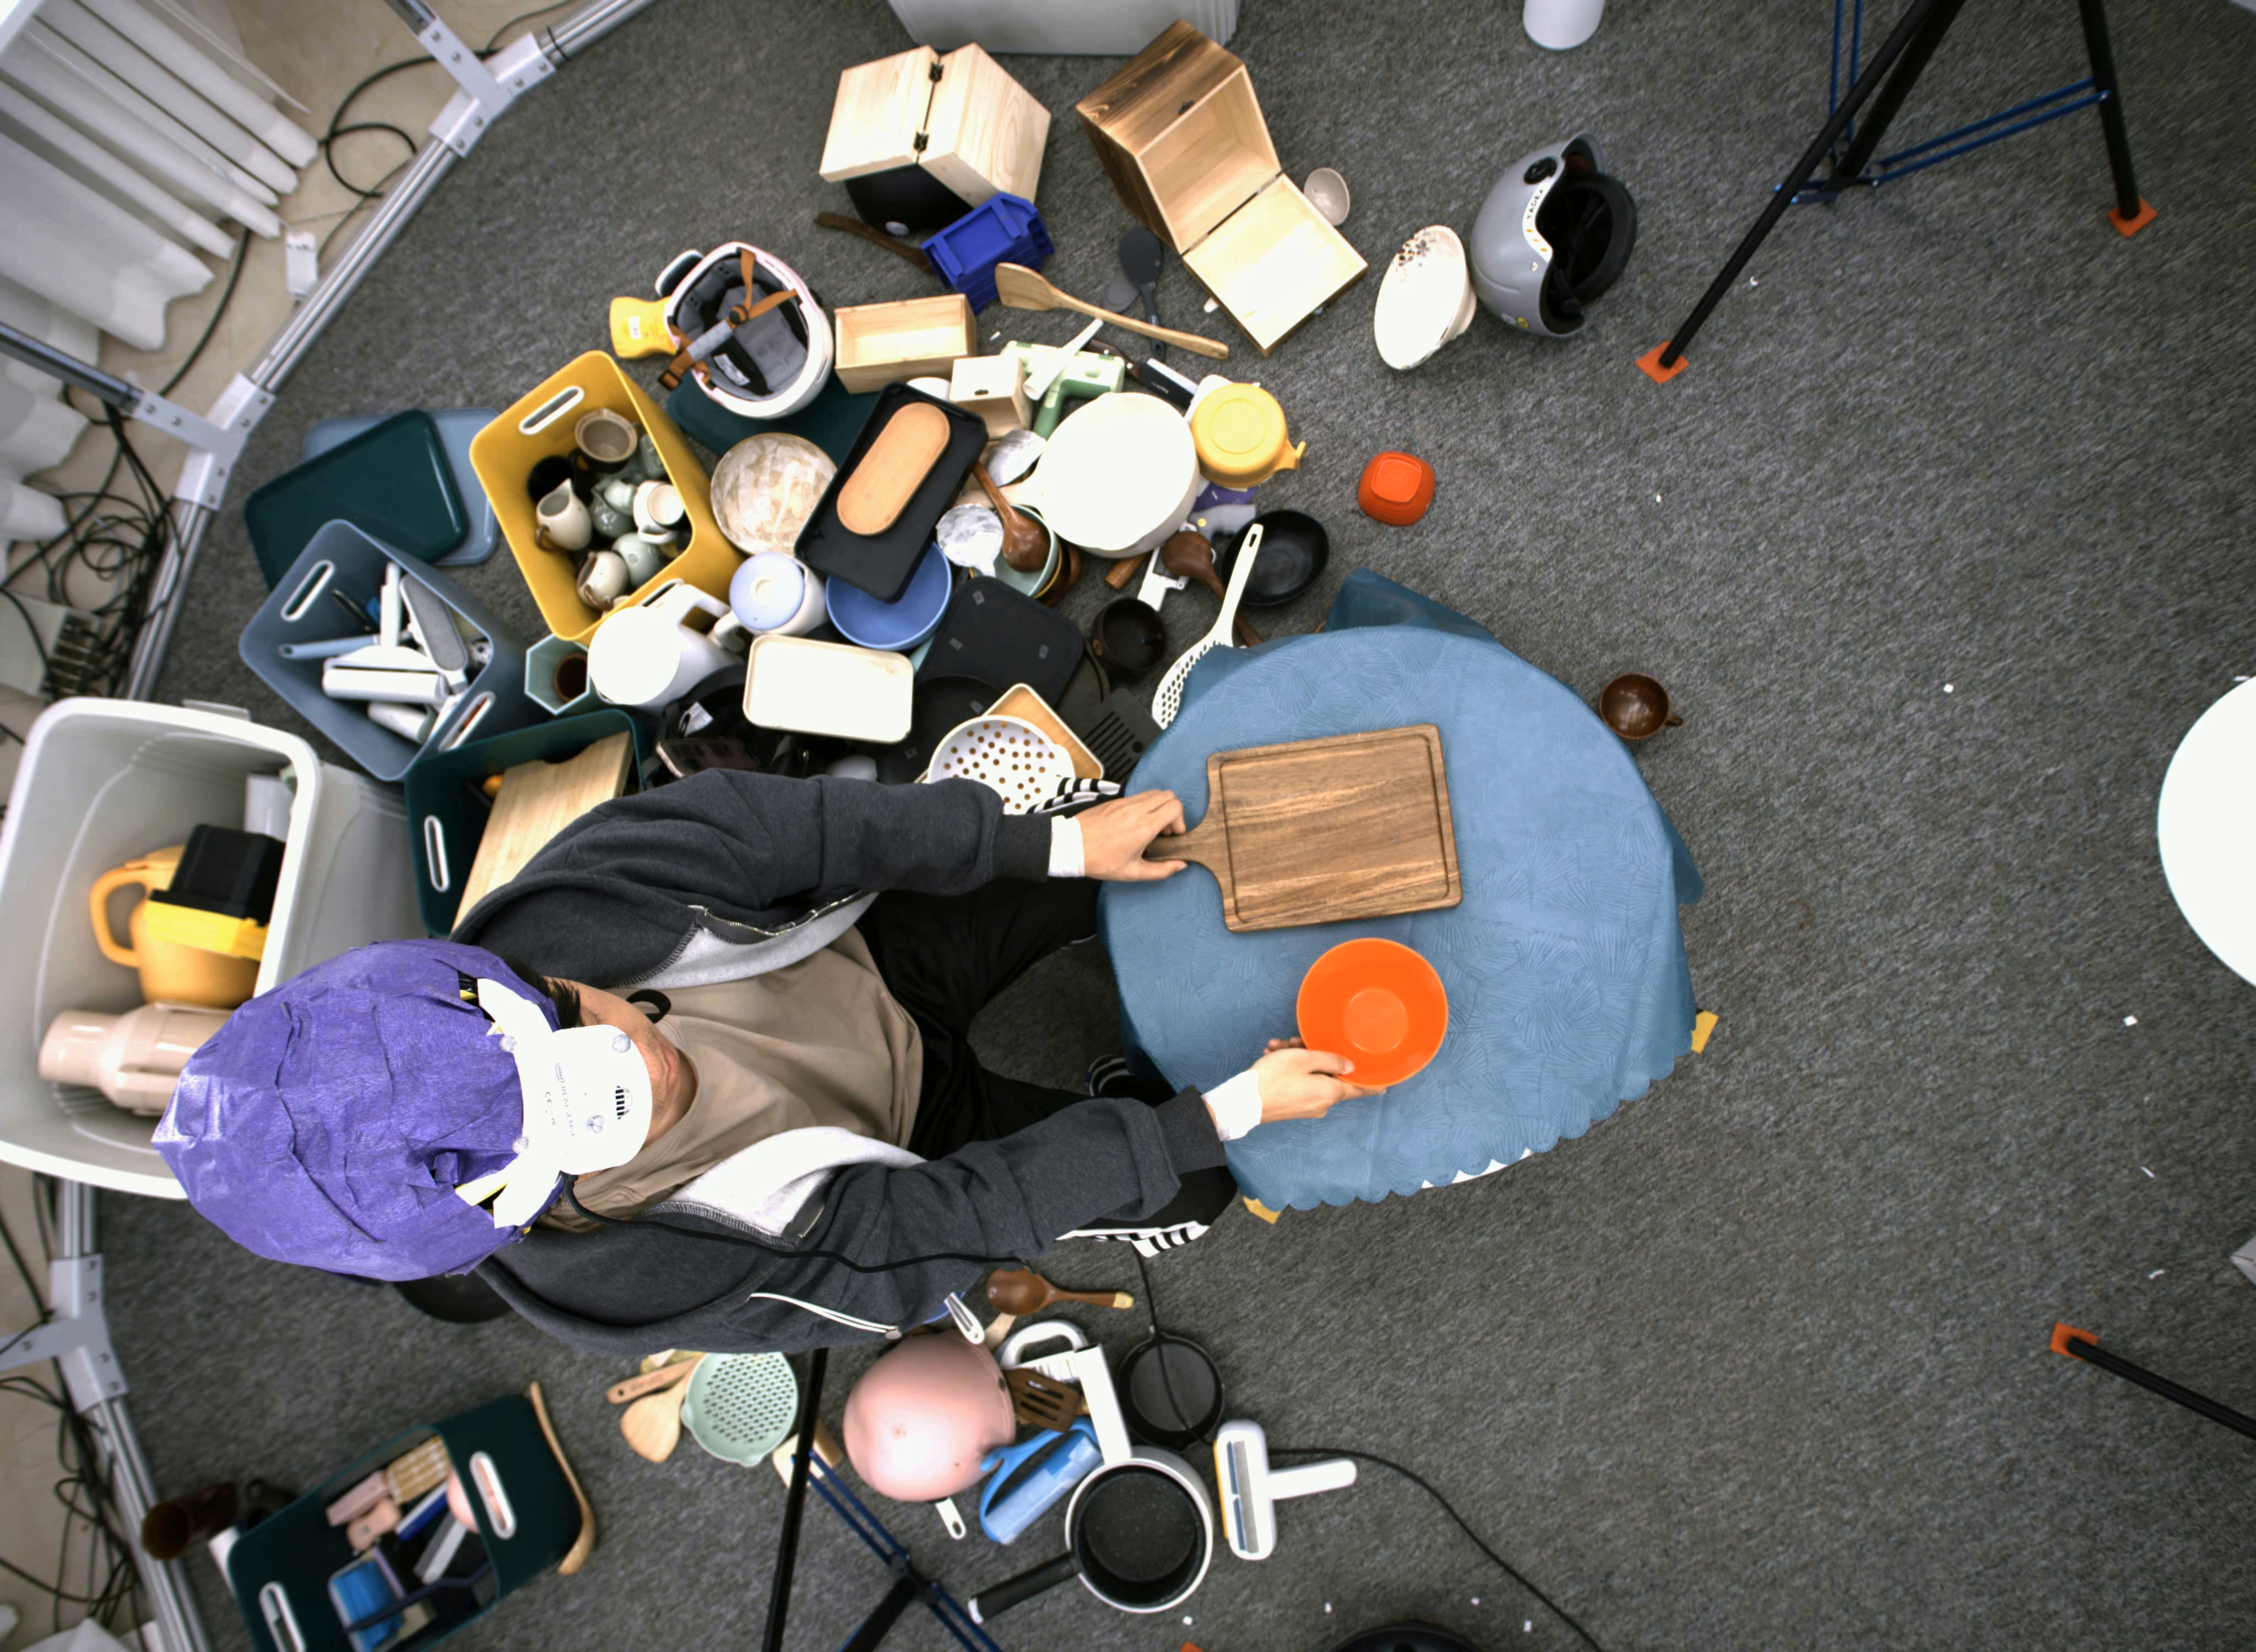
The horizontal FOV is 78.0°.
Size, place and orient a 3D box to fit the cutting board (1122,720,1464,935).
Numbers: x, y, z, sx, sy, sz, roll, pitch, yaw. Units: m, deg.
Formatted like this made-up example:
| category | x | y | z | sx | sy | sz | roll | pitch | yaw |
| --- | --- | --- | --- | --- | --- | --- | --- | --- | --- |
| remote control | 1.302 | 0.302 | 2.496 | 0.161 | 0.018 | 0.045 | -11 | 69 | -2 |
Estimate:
| category | x | y | z | sx | sy | sz | roll | pitch | yaw |
| --- | --- | --- | --- | --- | --- | --- | --- | --- | --- |
| cutting board | 0.167 | 0.008 | 1.471 | 0.354 | 0.023 | 0.200 | -8 | 85 | 10 |

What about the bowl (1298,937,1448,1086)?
| category | x | y | z | sx | sy | sz | roll | pitch | yaw |
| --- | --- | --- | --- | --- | --- | --- | --- | --- | --- |
| bowl | 0.250 | 0.186 | 1.406 | 0.148 | 0.104 | 0.147 | -1 | 86 | 12 |
